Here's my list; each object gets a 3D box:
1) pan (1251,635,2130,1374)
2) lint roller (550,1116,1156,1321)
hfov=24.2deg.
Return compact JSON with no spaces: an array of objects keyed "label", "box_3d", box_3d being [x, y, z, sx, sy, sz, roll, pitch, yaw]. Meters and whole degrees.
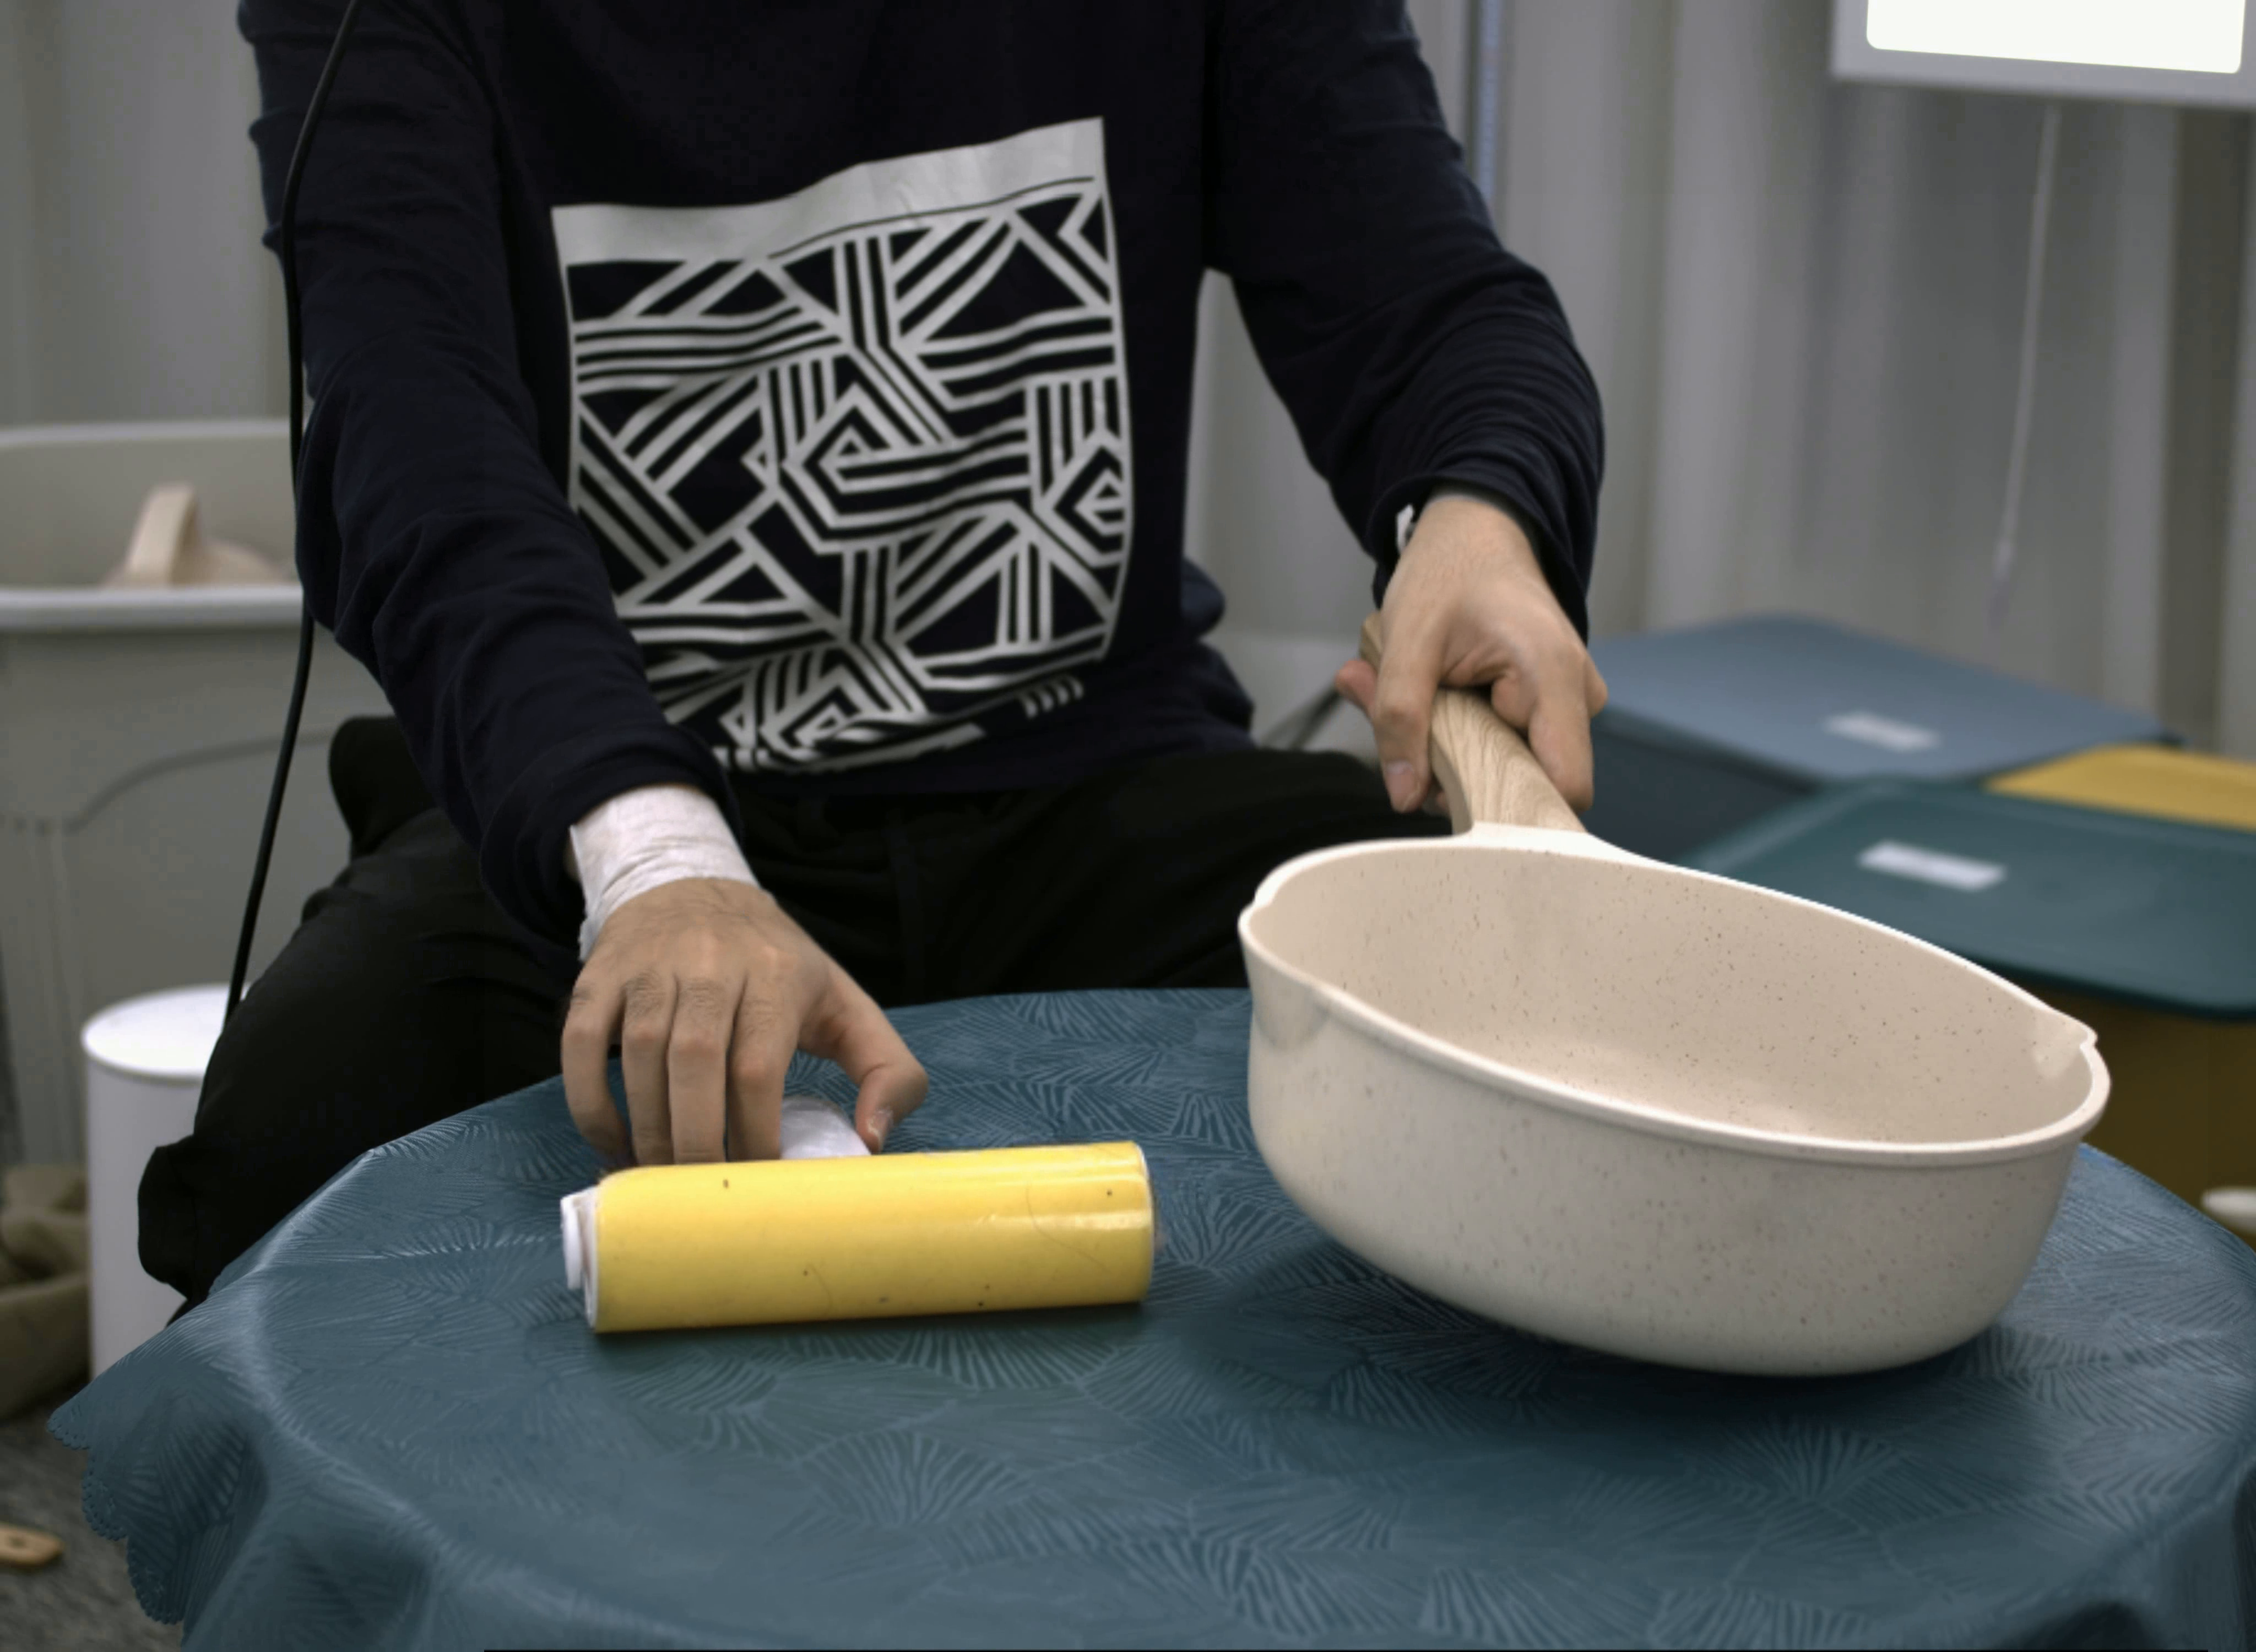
[{"label":"pan","box_3d":[0.136,0.049,1.604,0.264,0.103,0.430,3,17,-16]},{"label":"lint roller","box_3d":[-0.092,0.100,1.580,0.174,0.052,0.190,-2,15,-11]}]
